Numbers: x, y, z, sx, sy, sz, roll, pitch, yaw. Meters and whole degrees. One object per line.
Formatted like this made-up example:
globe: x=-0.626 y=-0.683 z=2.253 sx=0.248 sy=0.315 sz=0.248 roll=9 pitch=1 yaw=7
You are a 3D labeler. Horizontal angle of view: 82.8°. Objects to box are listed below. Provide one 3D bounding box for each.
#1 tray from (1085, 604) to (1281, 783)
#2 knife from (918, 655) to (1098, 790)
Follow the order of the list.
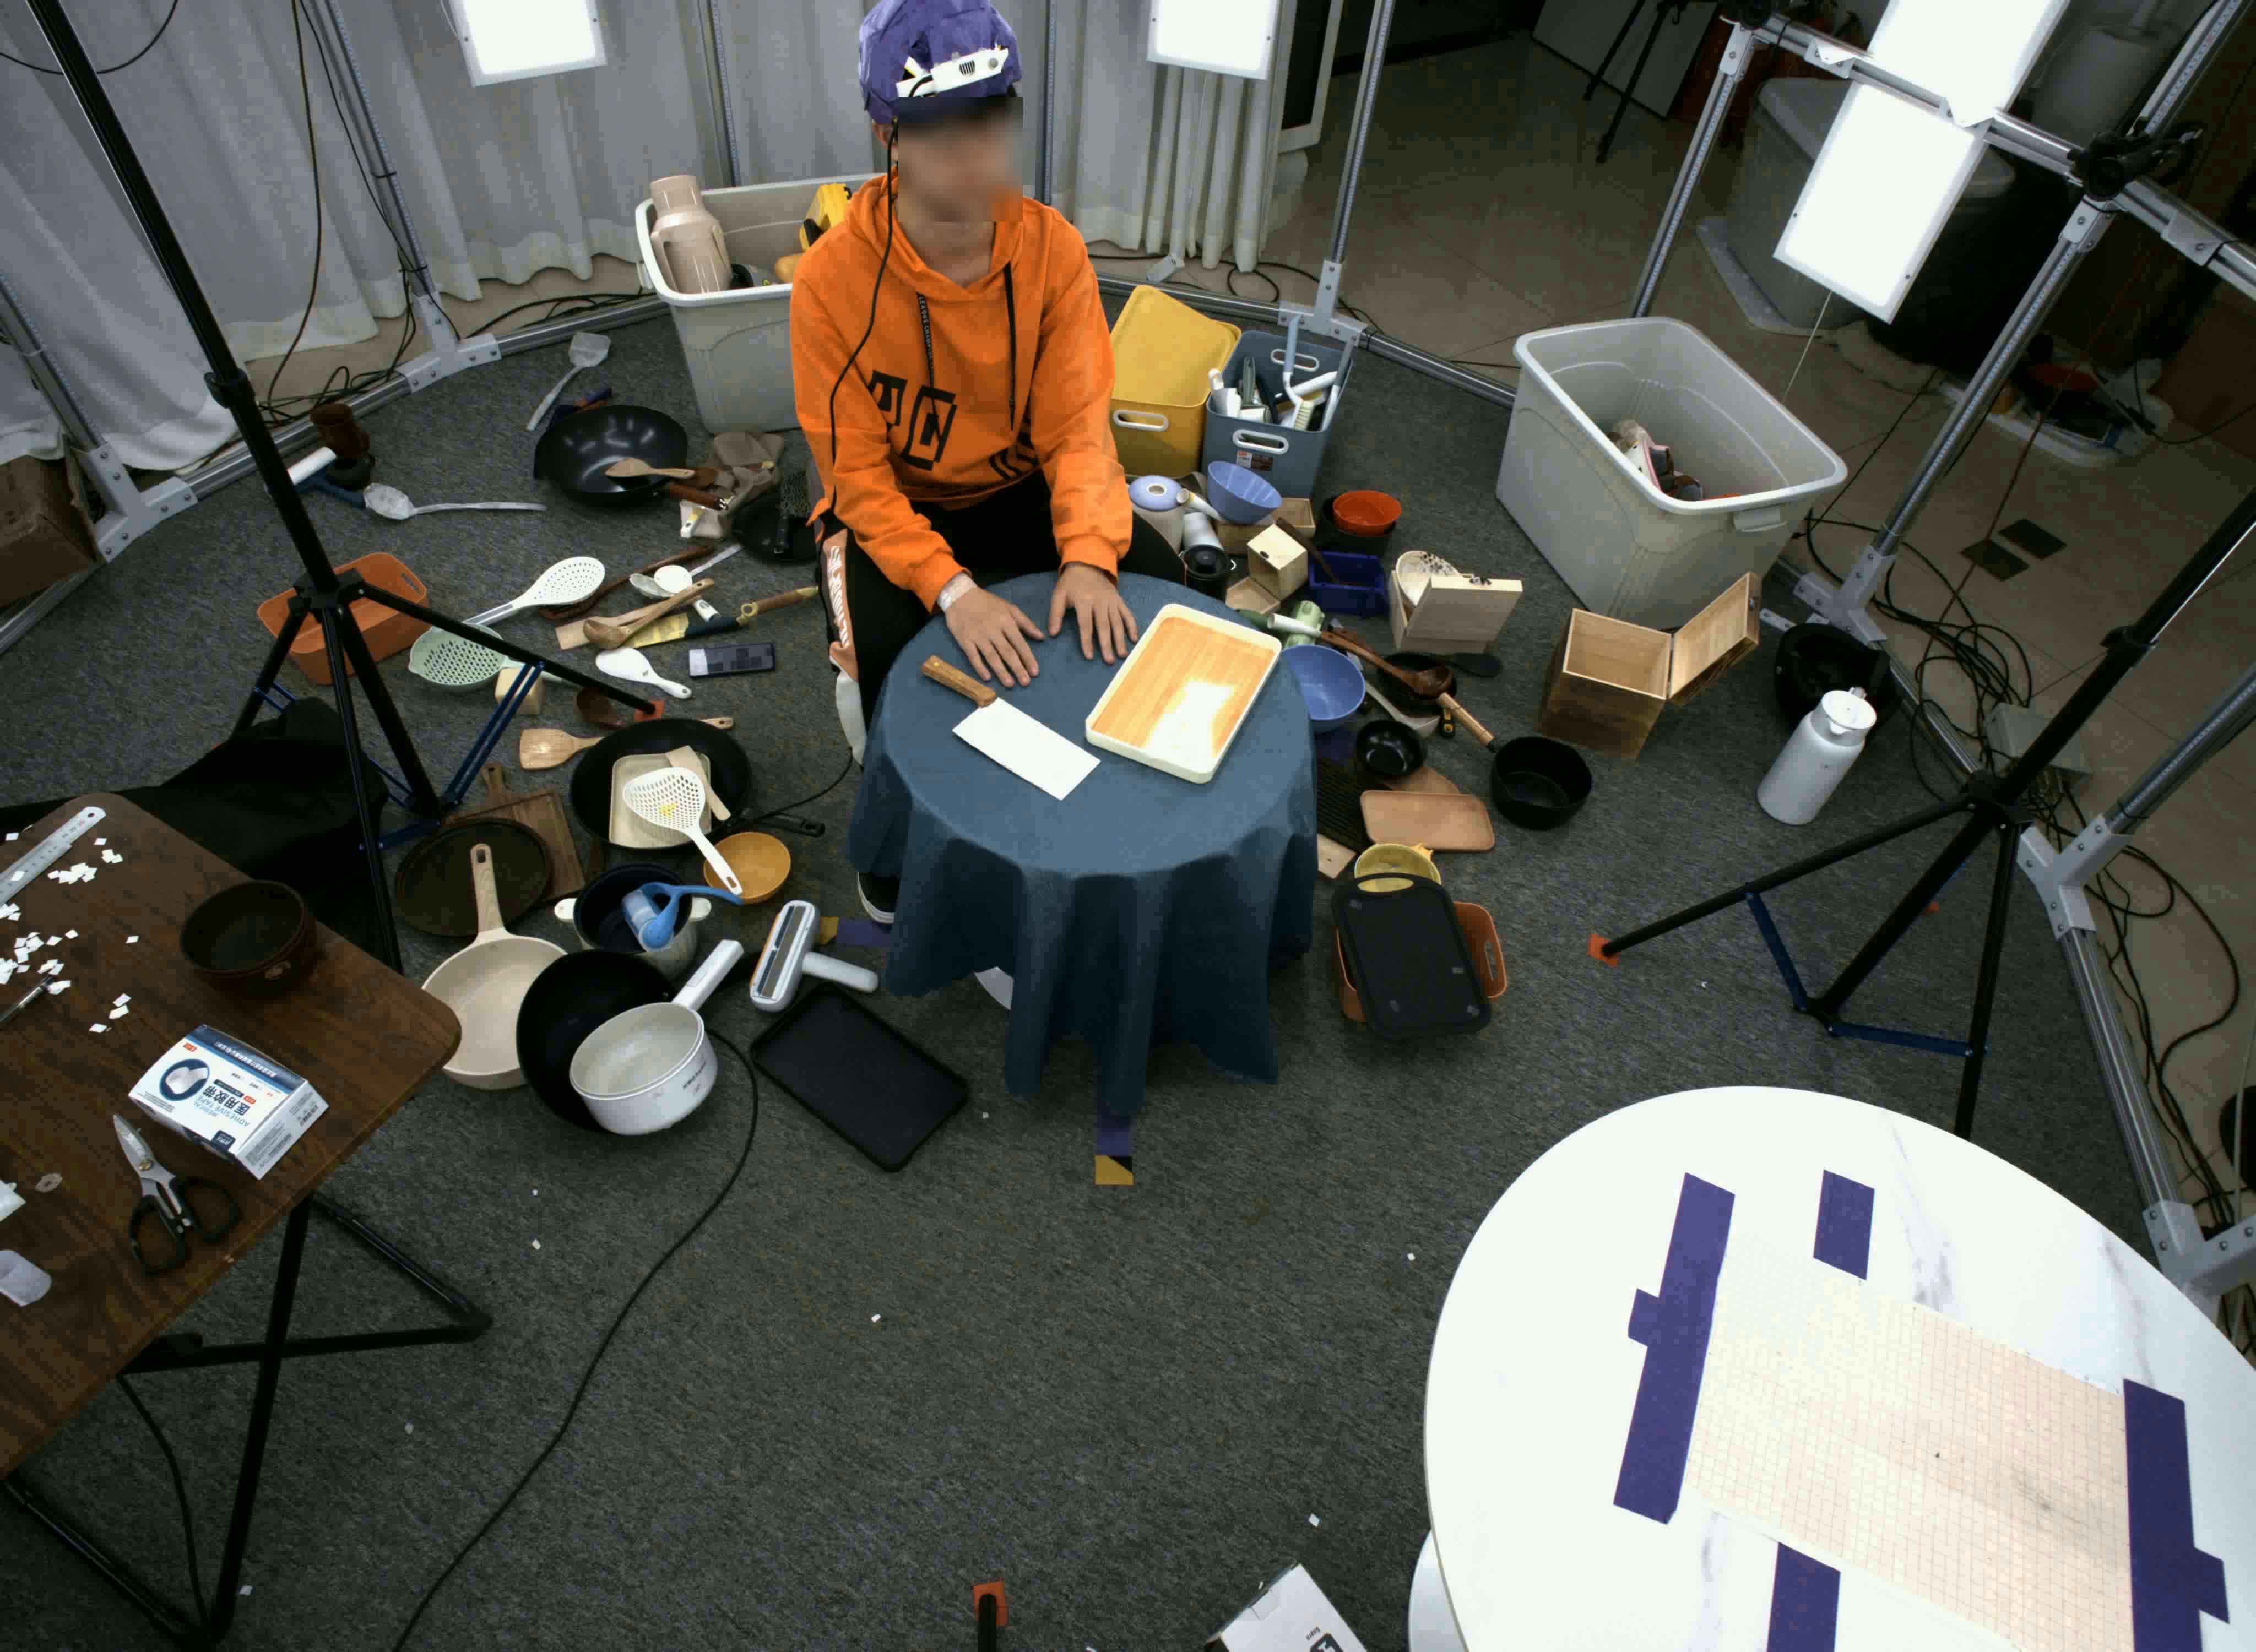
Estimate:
tray: x=0.083 y=-0.195 z=1.826 sx=0.193 sy=0.027 sz=0.306 roll=21 pitch=51 yaw=14
knife: x=-0.184 y=-0.140 z=1.768 sx=0.309 sy=0.020 sz=0.094 roll=32 pitch=56 yaw=20
